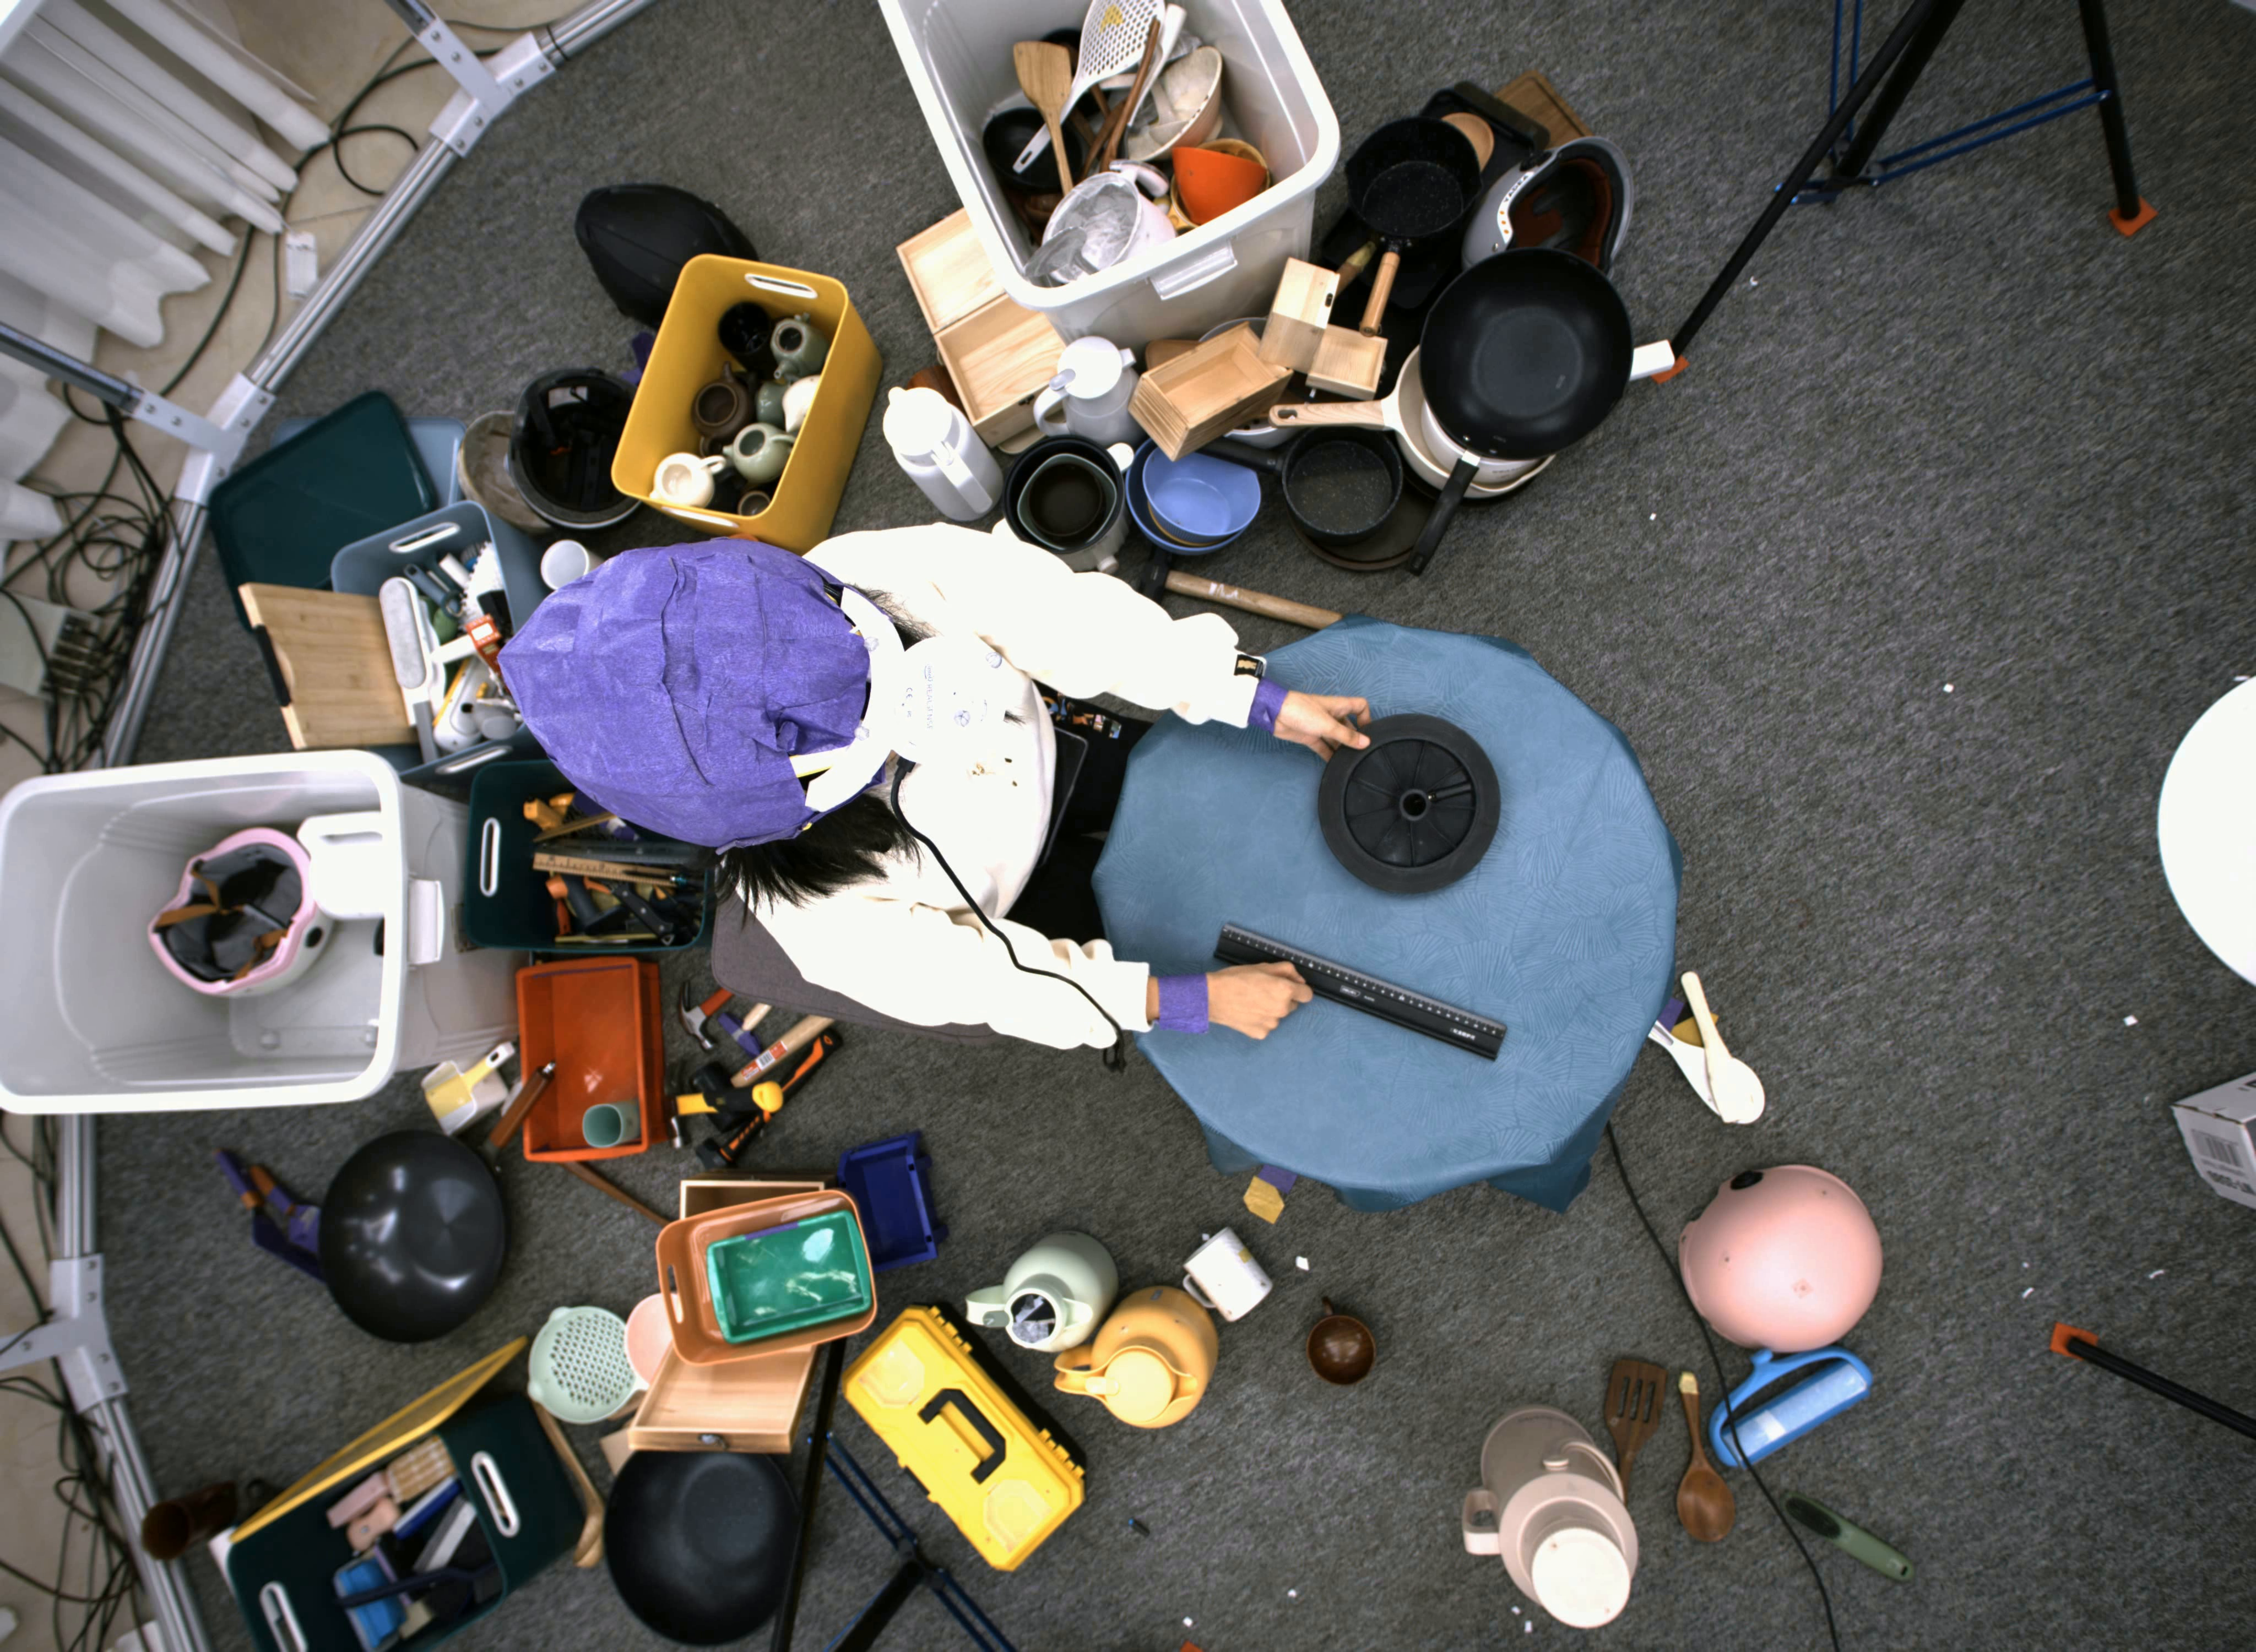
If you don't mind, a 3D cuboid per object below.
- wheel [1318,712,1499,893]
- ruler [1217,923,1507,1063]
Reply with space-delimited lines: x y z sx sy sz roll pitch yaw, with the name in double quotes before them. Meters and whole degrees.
"wheel" 0.291 -0.025 1.416 0.191 0.079 0.187 -38 89 7
"ruler" 0.242 0.173 1.448 0.312 0.017 0.039 21 96 11
